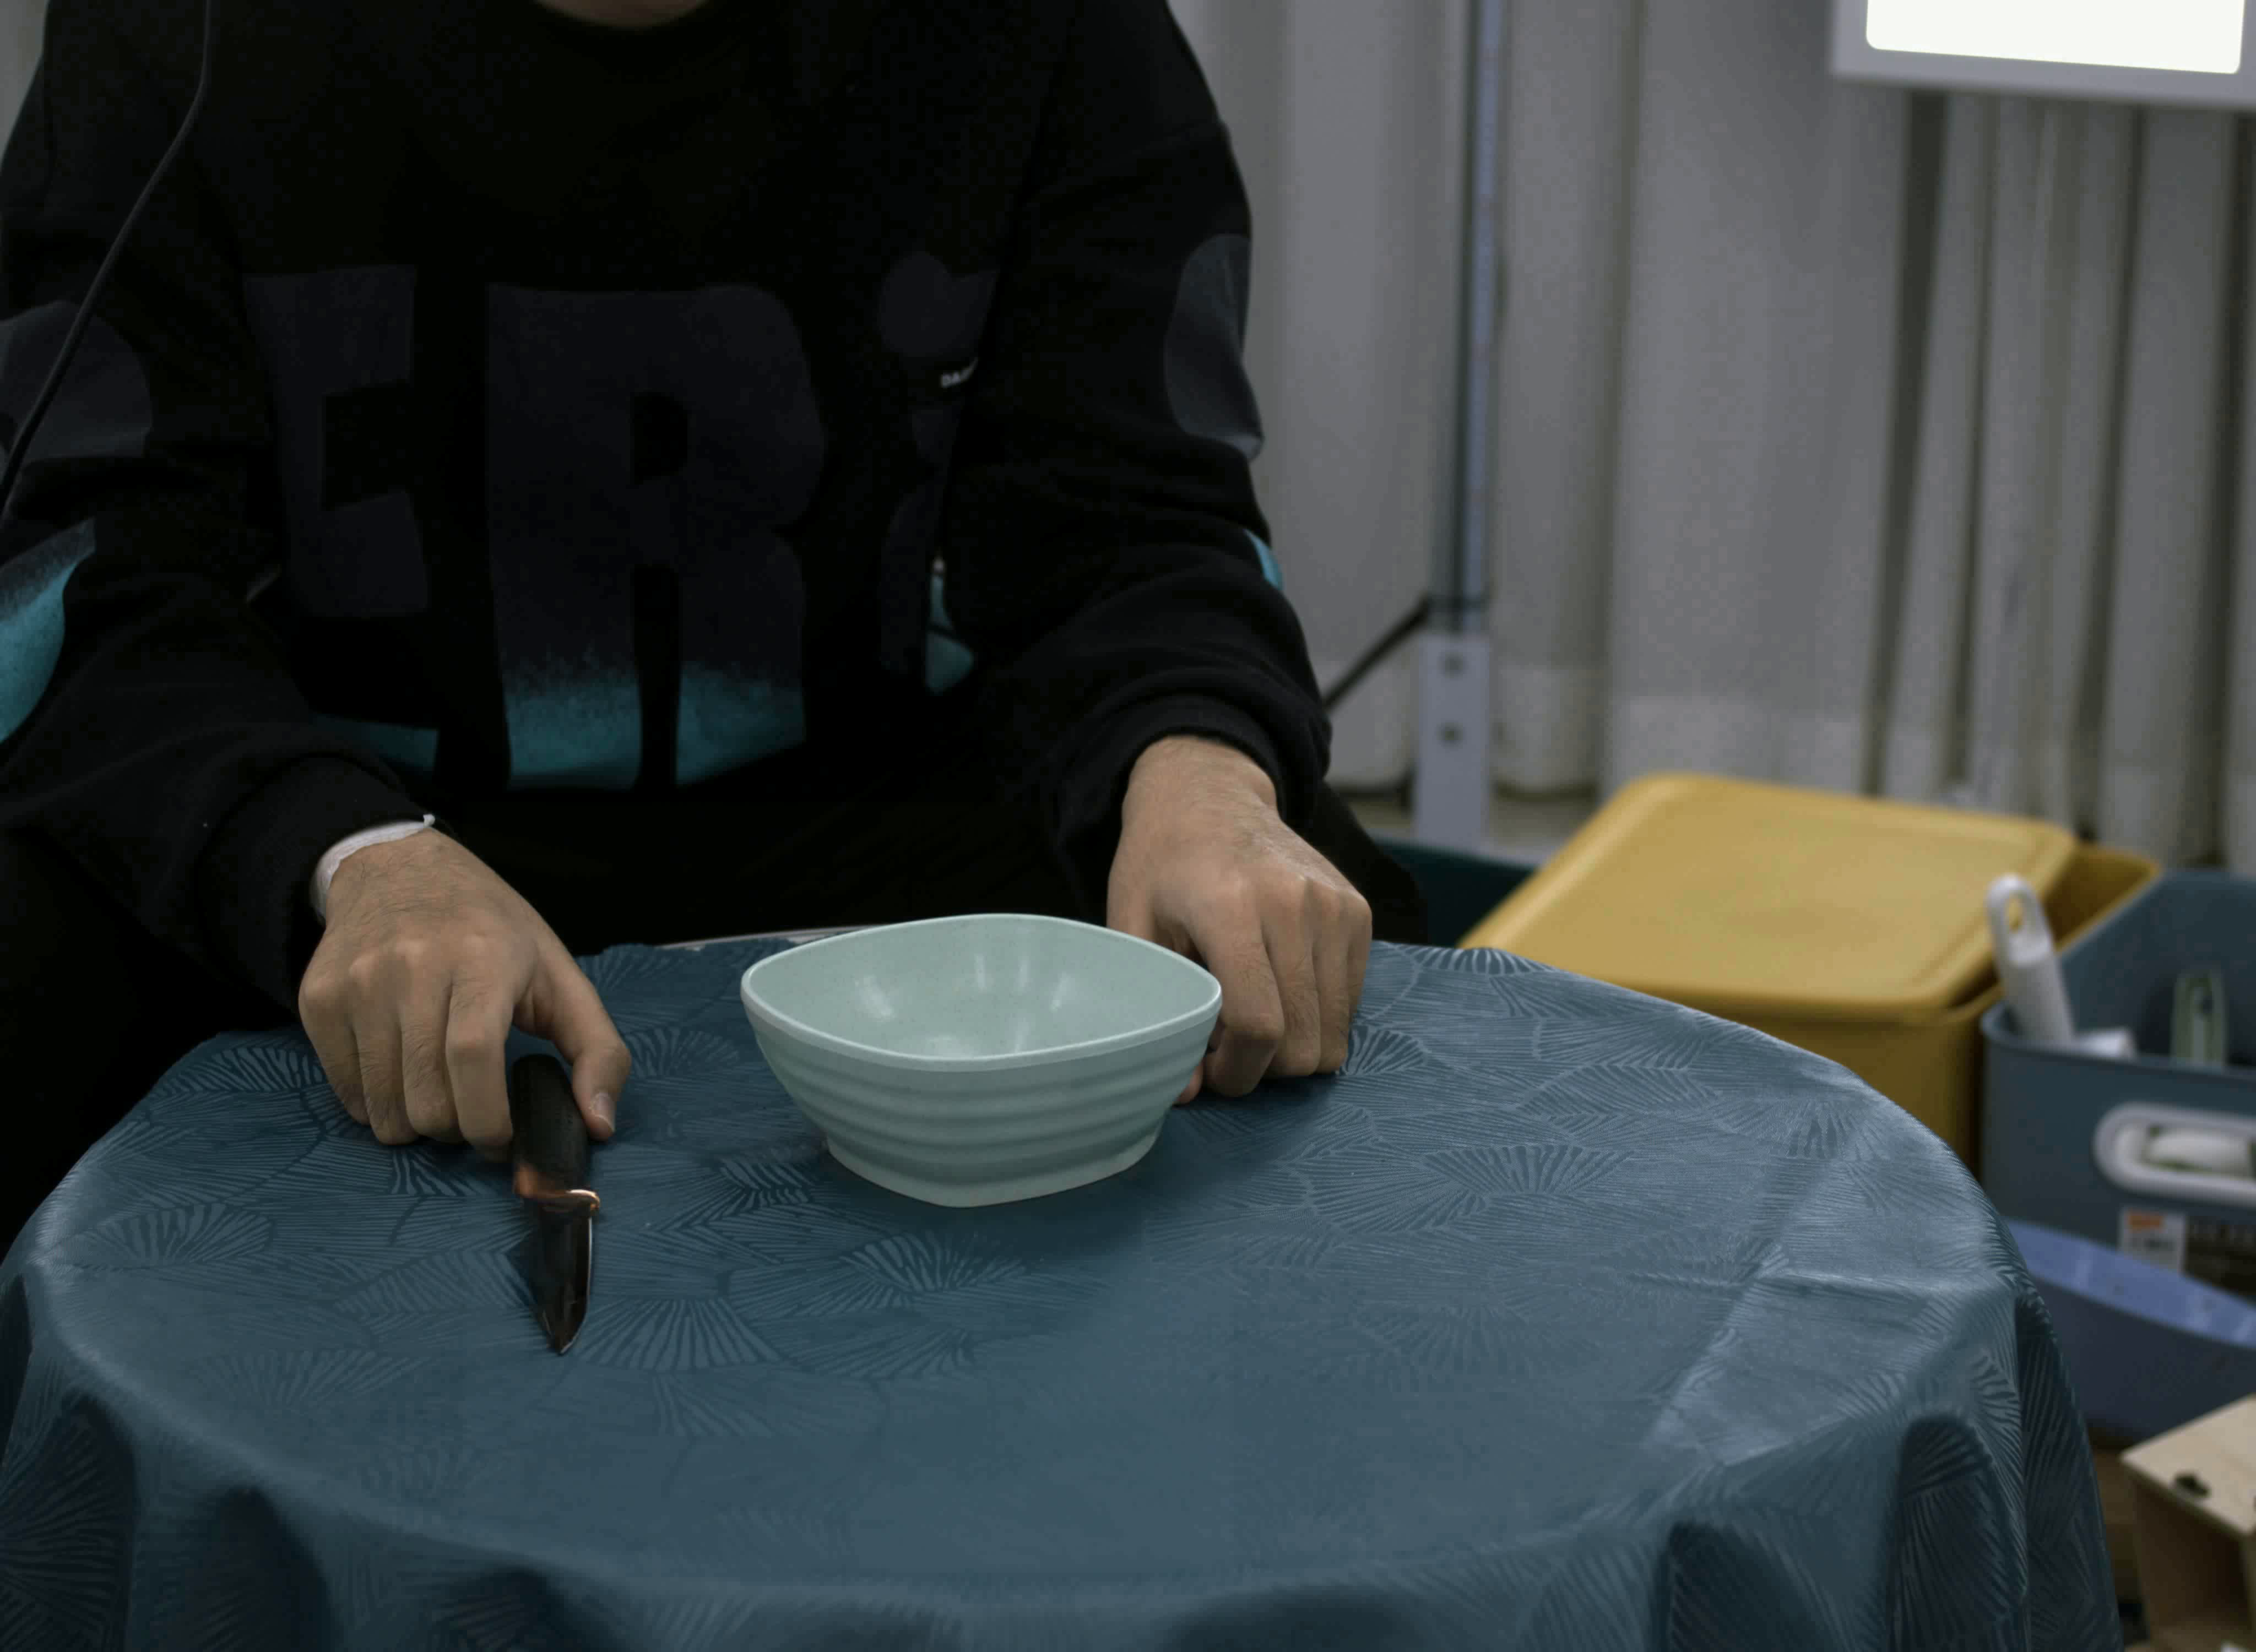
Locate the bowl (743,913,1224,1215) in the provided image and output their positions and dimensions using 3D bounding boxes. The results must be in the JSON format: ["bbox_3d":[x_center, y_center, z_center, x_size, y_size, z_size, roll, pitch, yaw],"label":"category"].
[{"bbox_3d":[-0.045,0.077,1.645,0.151,0.059,0.150,0,17,1],"label":"bowl"}]

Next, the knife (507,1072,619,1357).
[{"bbox_3d":[-0.171,0.116,1.587,0.026,0.017,0.223,7,15,-12],"label":"knife"}]
